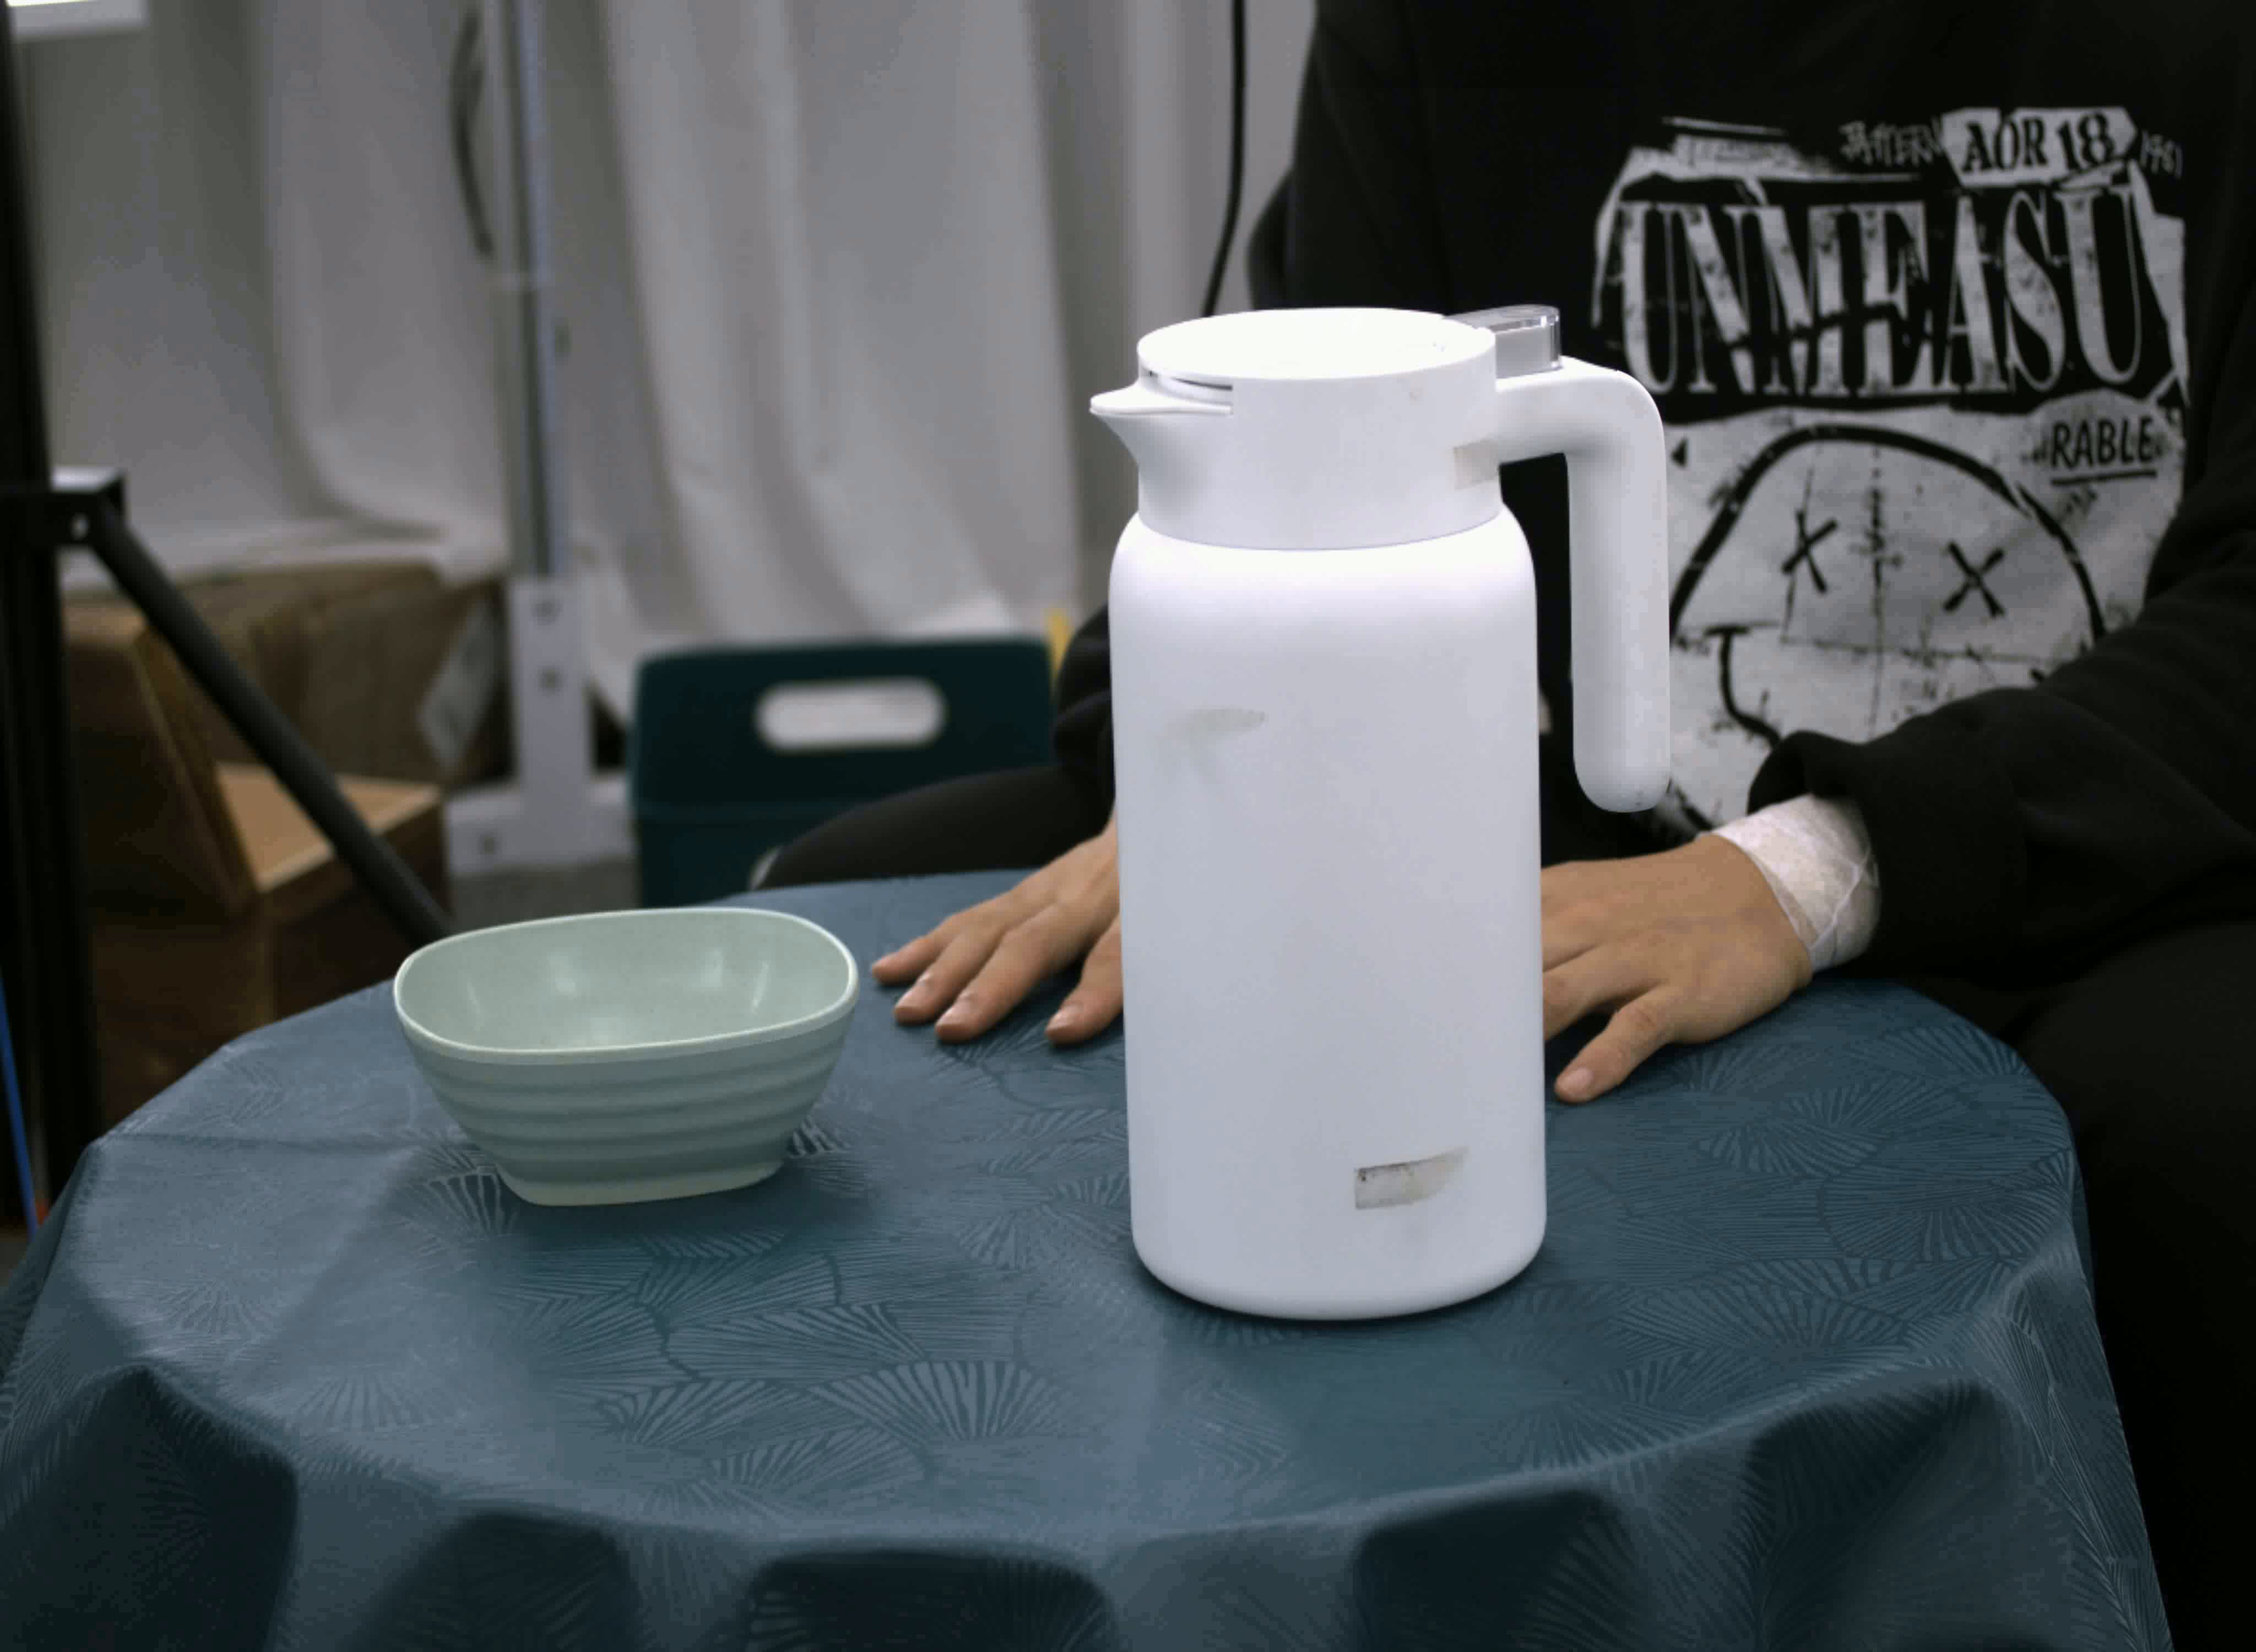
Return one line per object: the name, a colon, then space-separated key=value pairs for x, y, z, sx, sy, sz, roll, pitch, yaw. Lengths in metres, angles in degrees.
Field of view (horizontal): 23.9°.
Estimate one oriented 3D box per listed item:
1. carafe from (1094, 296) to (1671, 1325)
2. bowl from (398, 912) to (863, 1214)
carafe: x=0.071 y=-0.008 z=1.465 sx=0.169 sy=0.269 sz=0.126 roll=-10 pitch=15 yaw=-26
bowl: x=-0.148 y=0.074 z=1.602 sx=0.150 sy=0.058 sz=0.152 roll=-3 pitch=16 yaw=-1
